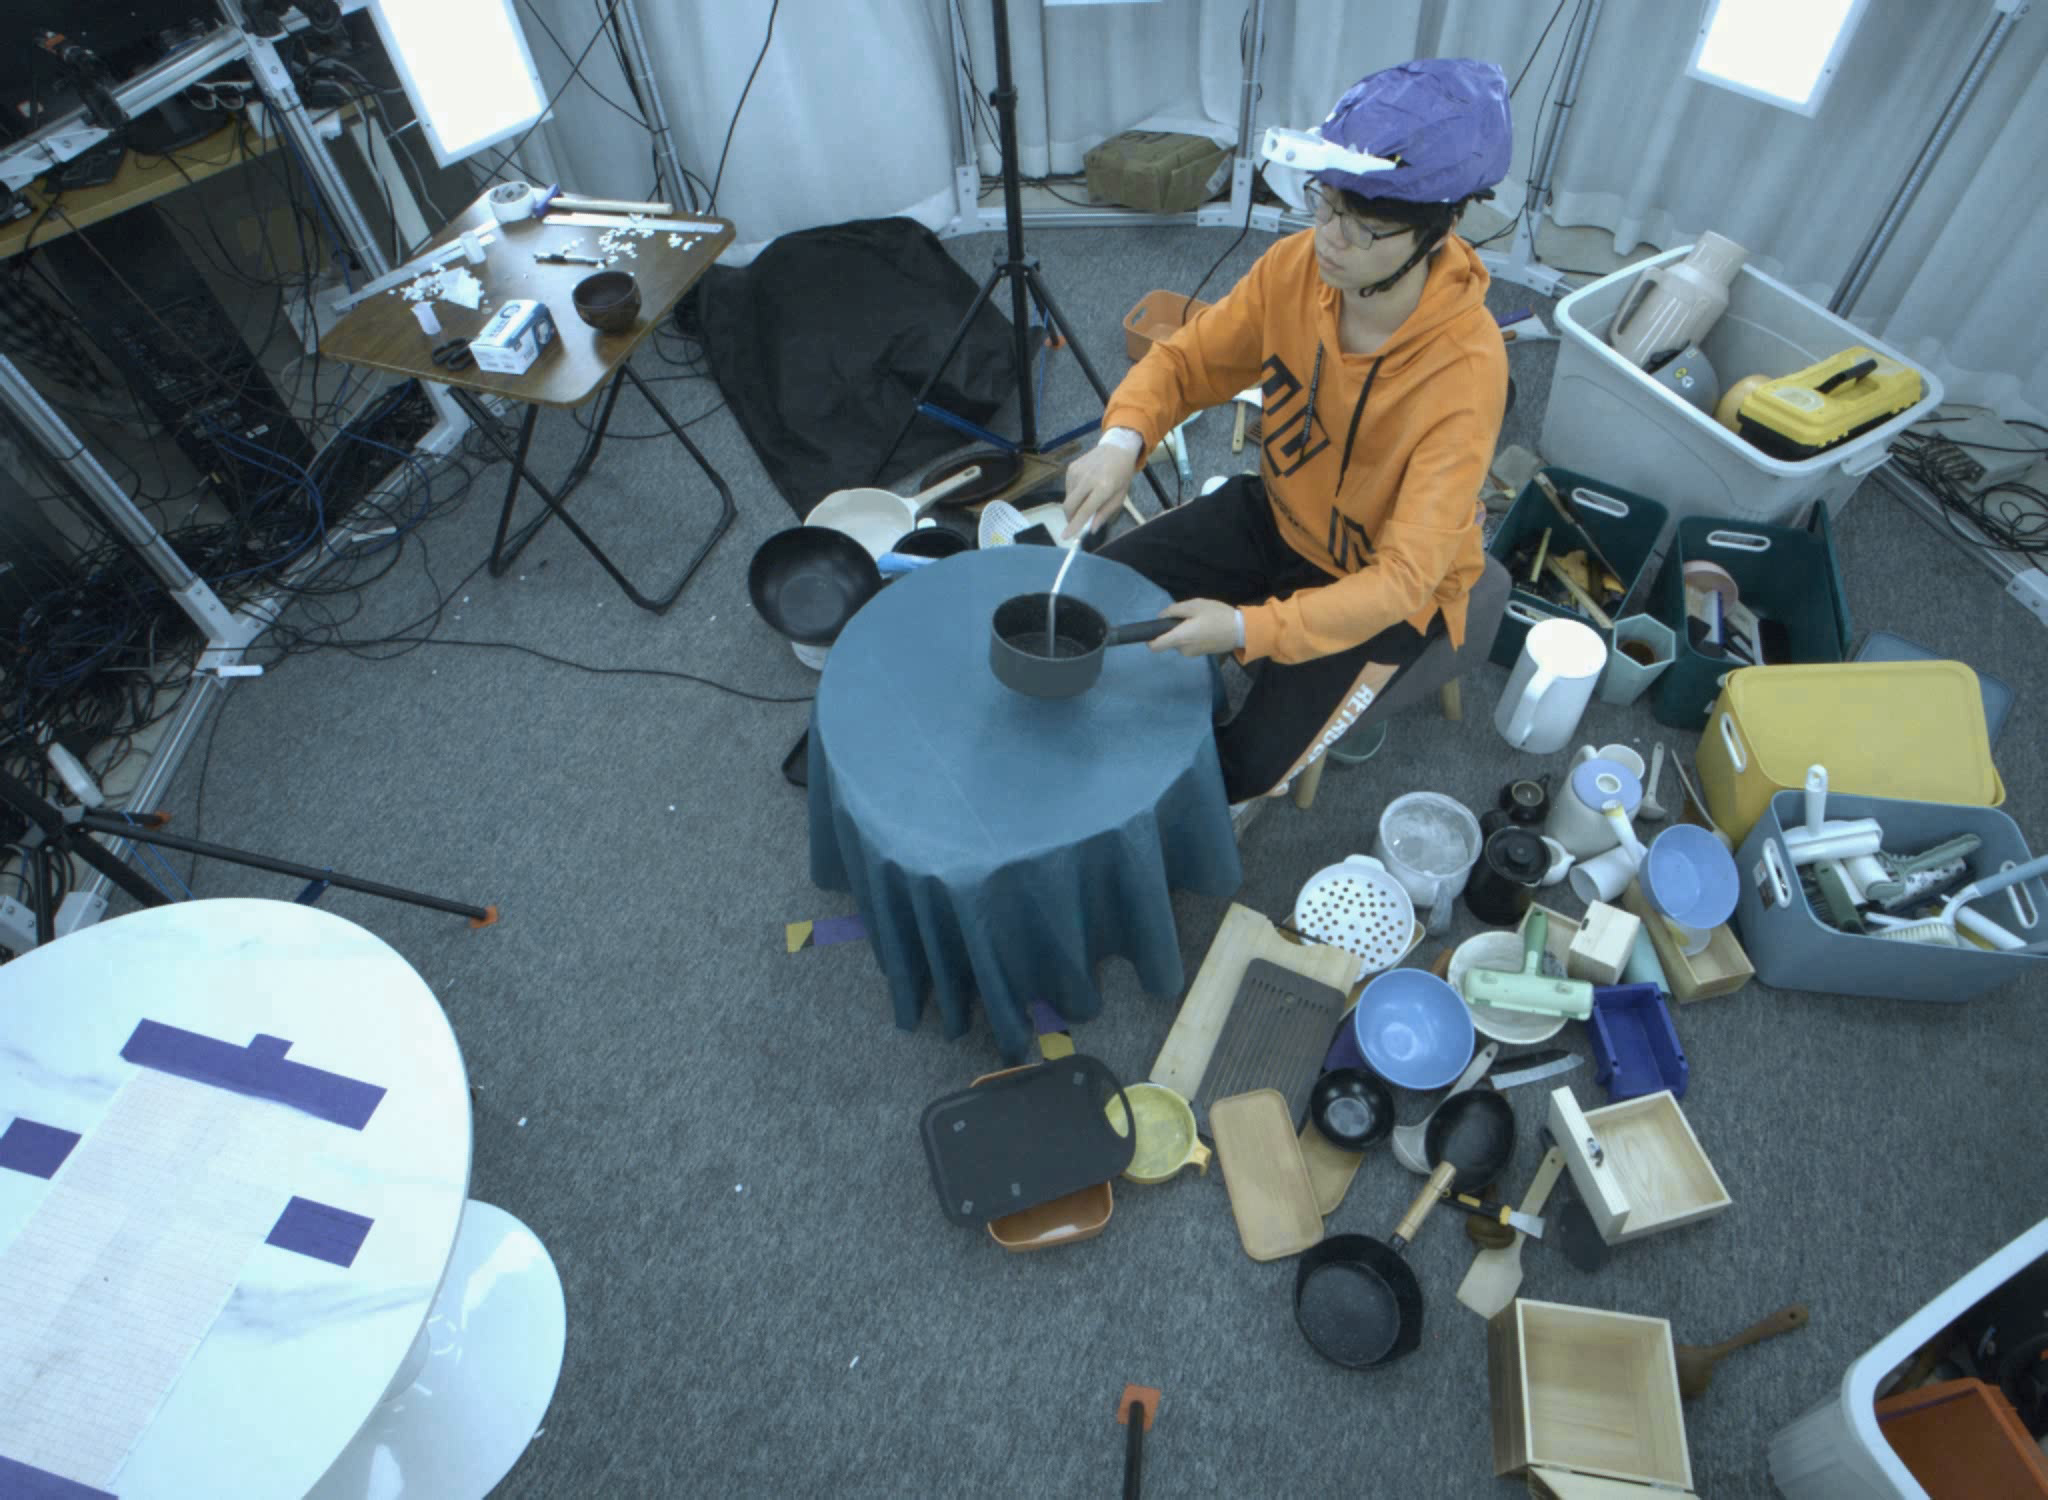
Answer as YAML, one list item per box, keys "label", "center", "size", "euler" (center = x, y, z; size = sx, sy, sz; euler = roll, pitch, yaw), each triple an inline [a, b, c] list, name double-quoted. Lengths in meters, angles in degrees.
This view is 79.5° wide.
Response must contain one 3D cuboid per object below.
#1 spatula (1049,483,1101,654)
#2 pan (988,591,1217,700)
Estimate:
- label: "spatula"
  center: [0.064, -0.255, 1.774]
  size: [0.032, 0.058, 0.286]
  euler: [16, 73, -8]
- label: "pan"
  center: [0.110, -0.152, 1.759]
  size: [0.331, 0.087, 0.169]
  euler: [-2, 43, -10]
